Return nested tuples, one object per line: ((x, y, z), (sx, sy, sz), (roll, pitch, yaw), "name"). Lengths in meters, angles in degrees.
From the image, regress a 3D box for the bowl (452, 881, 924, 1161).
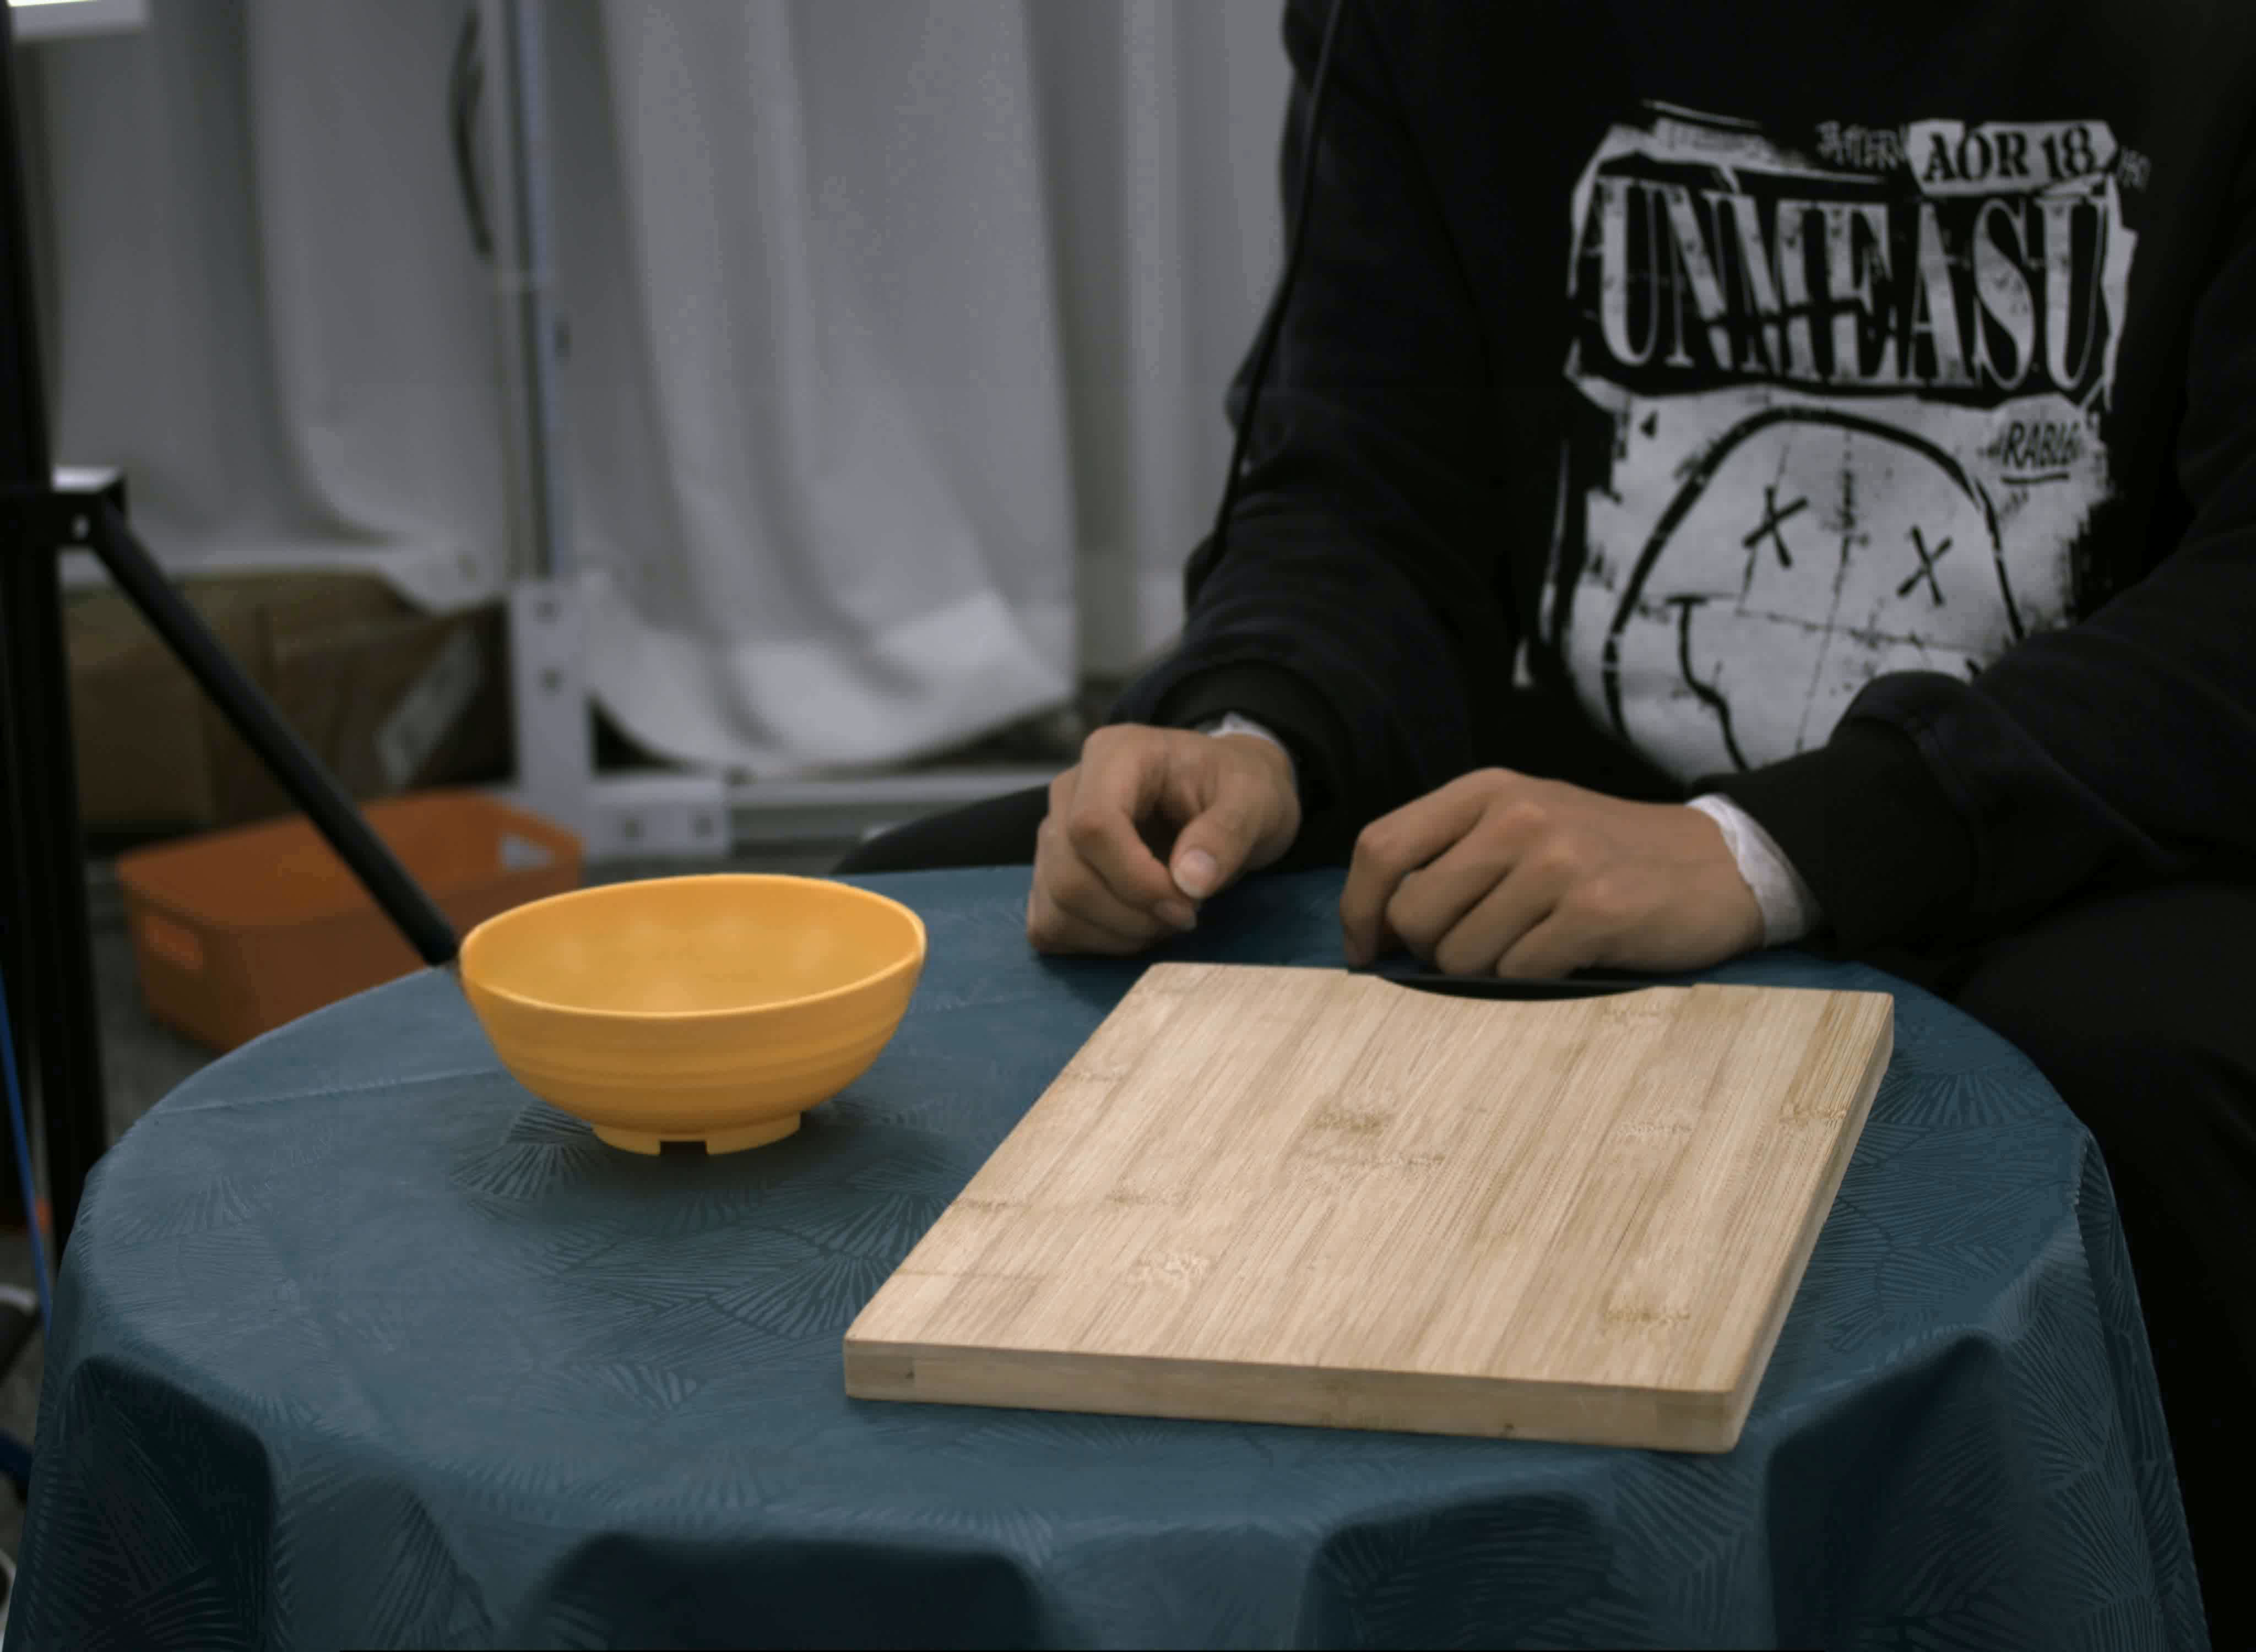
((-0.134, 0.065, 1.633), (0.144, 0.060, 0.146), (0, 15, -1), "bowl")

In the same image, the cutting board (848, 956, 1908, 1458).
((0.084, 0.102, 1.535), (0.252, 0.023, 0.346), (2, 16, 14), "cutting board")
